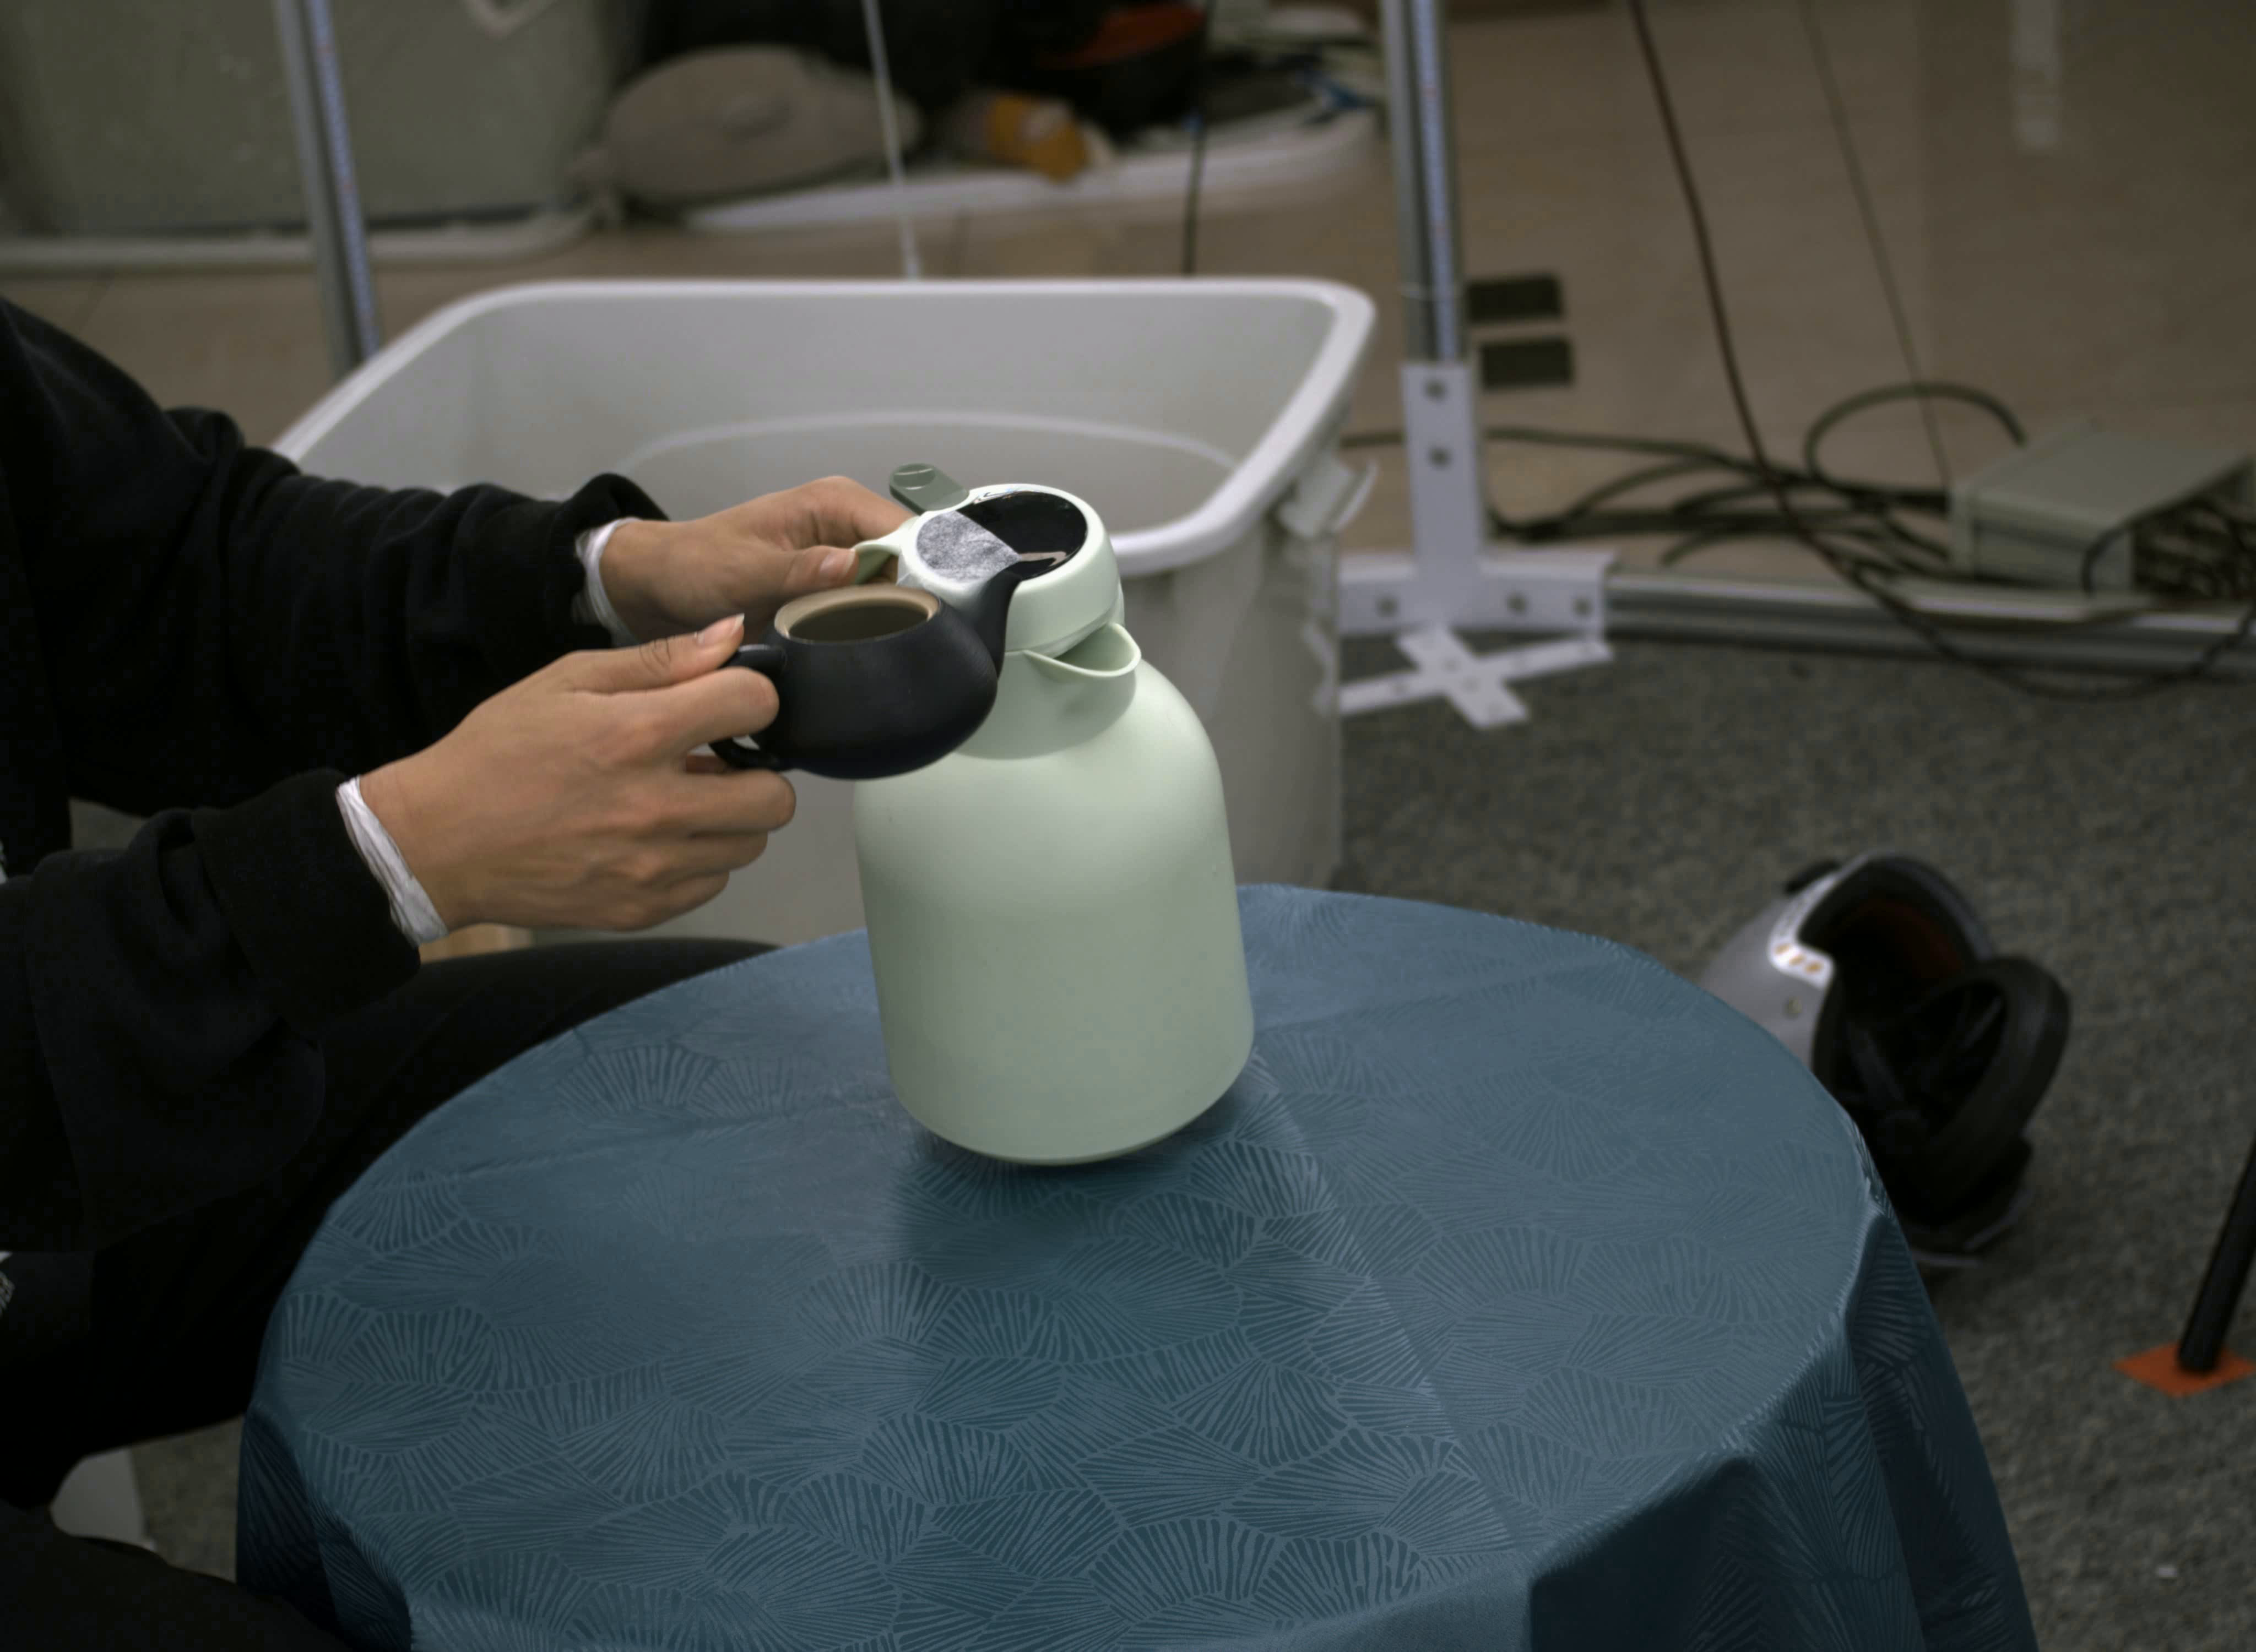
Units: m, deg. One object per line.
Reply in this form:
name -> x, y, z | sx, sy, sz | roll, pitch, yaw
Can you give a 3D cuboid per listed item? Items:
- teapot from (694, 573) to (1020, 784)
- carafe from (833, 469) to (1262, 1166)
teapot -> -0.092, -0.048, 1.966 | 0.132, 0.054, 0.090 | -19, 23, -29
carafe -> -0.041, -0.011, 2.155 | 0.143, 0.261, 0.184 | -29, 39, -25
